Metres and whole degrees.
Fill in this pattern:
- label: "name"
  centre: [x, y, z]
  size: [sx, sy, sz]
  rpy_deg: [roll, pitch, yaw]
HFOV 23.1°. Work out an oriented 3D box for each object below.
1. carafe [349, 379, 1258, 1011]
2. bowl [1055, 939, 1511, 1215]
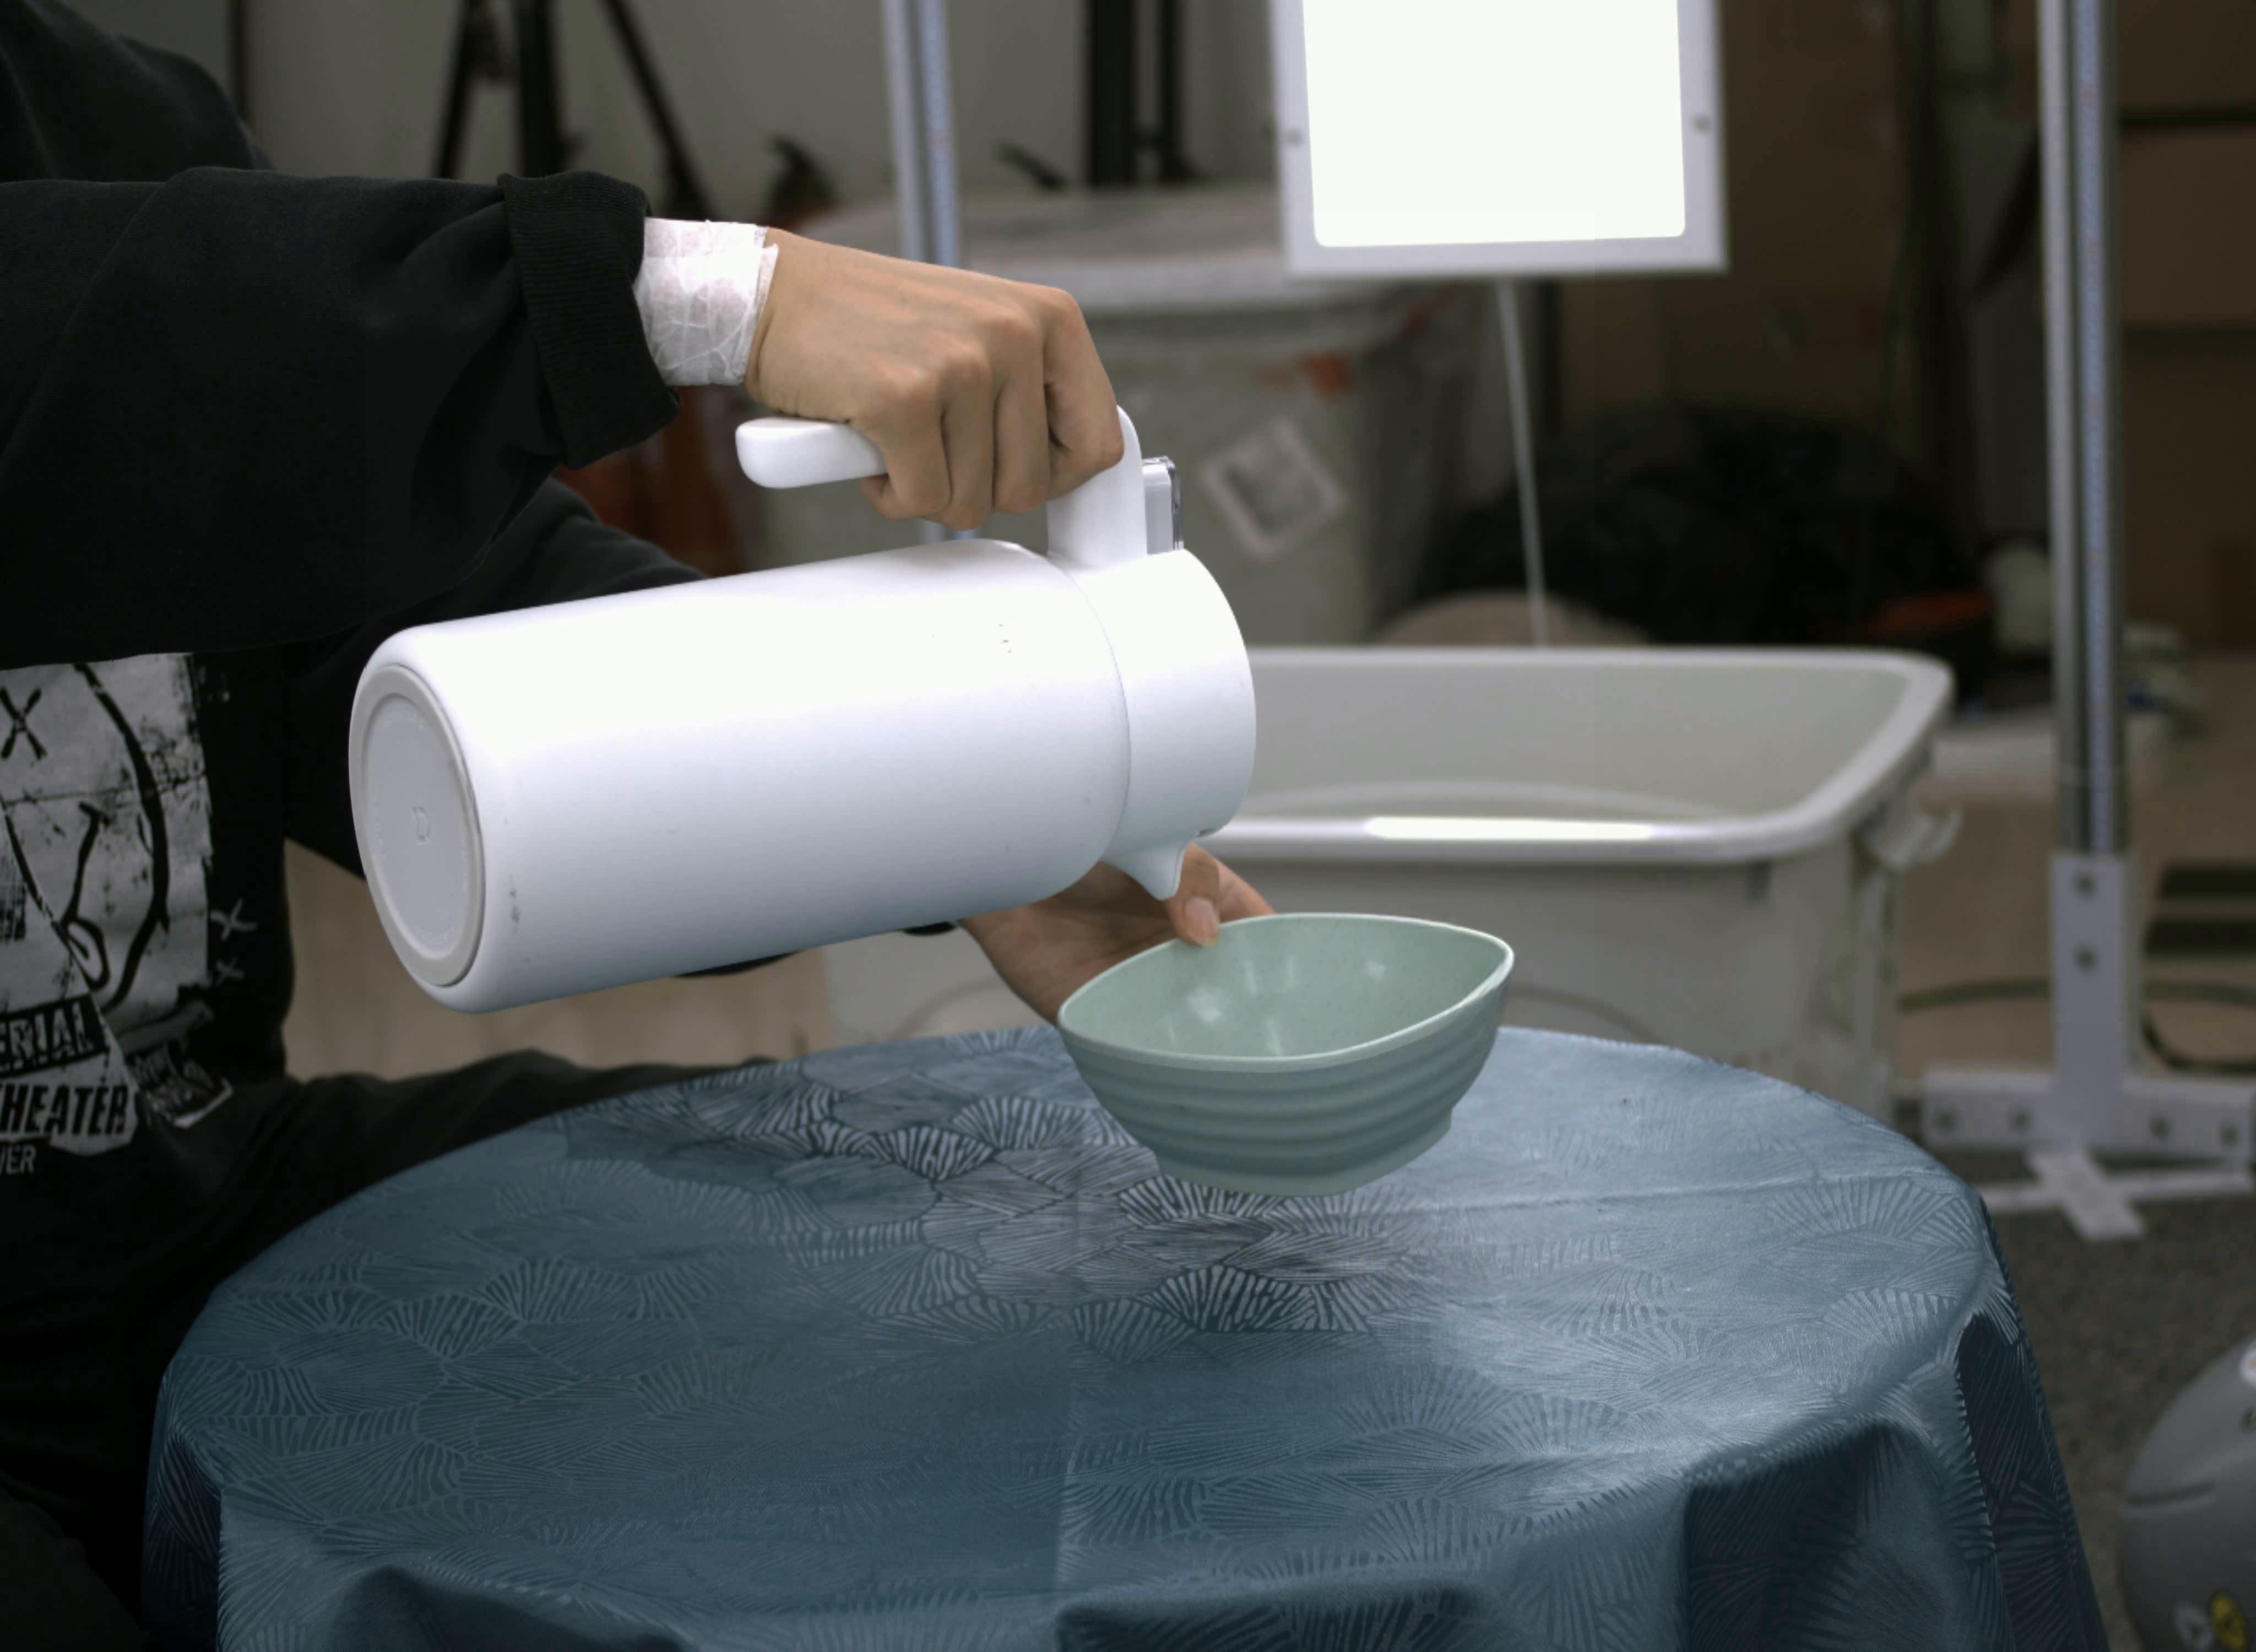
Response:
- label: "carafe"
  centre: [-0.098, -0.039, 1.690]
  size: [0.263, 0.173, 0.126]
  rpy_deg: [-11, 17, -25]
- label: "bowl"
  centre: [0.055, 0.085, 1.787]
  size: [0.151, 0.059, 0.151]
  rpy_deg: [-11, 14, 1]
